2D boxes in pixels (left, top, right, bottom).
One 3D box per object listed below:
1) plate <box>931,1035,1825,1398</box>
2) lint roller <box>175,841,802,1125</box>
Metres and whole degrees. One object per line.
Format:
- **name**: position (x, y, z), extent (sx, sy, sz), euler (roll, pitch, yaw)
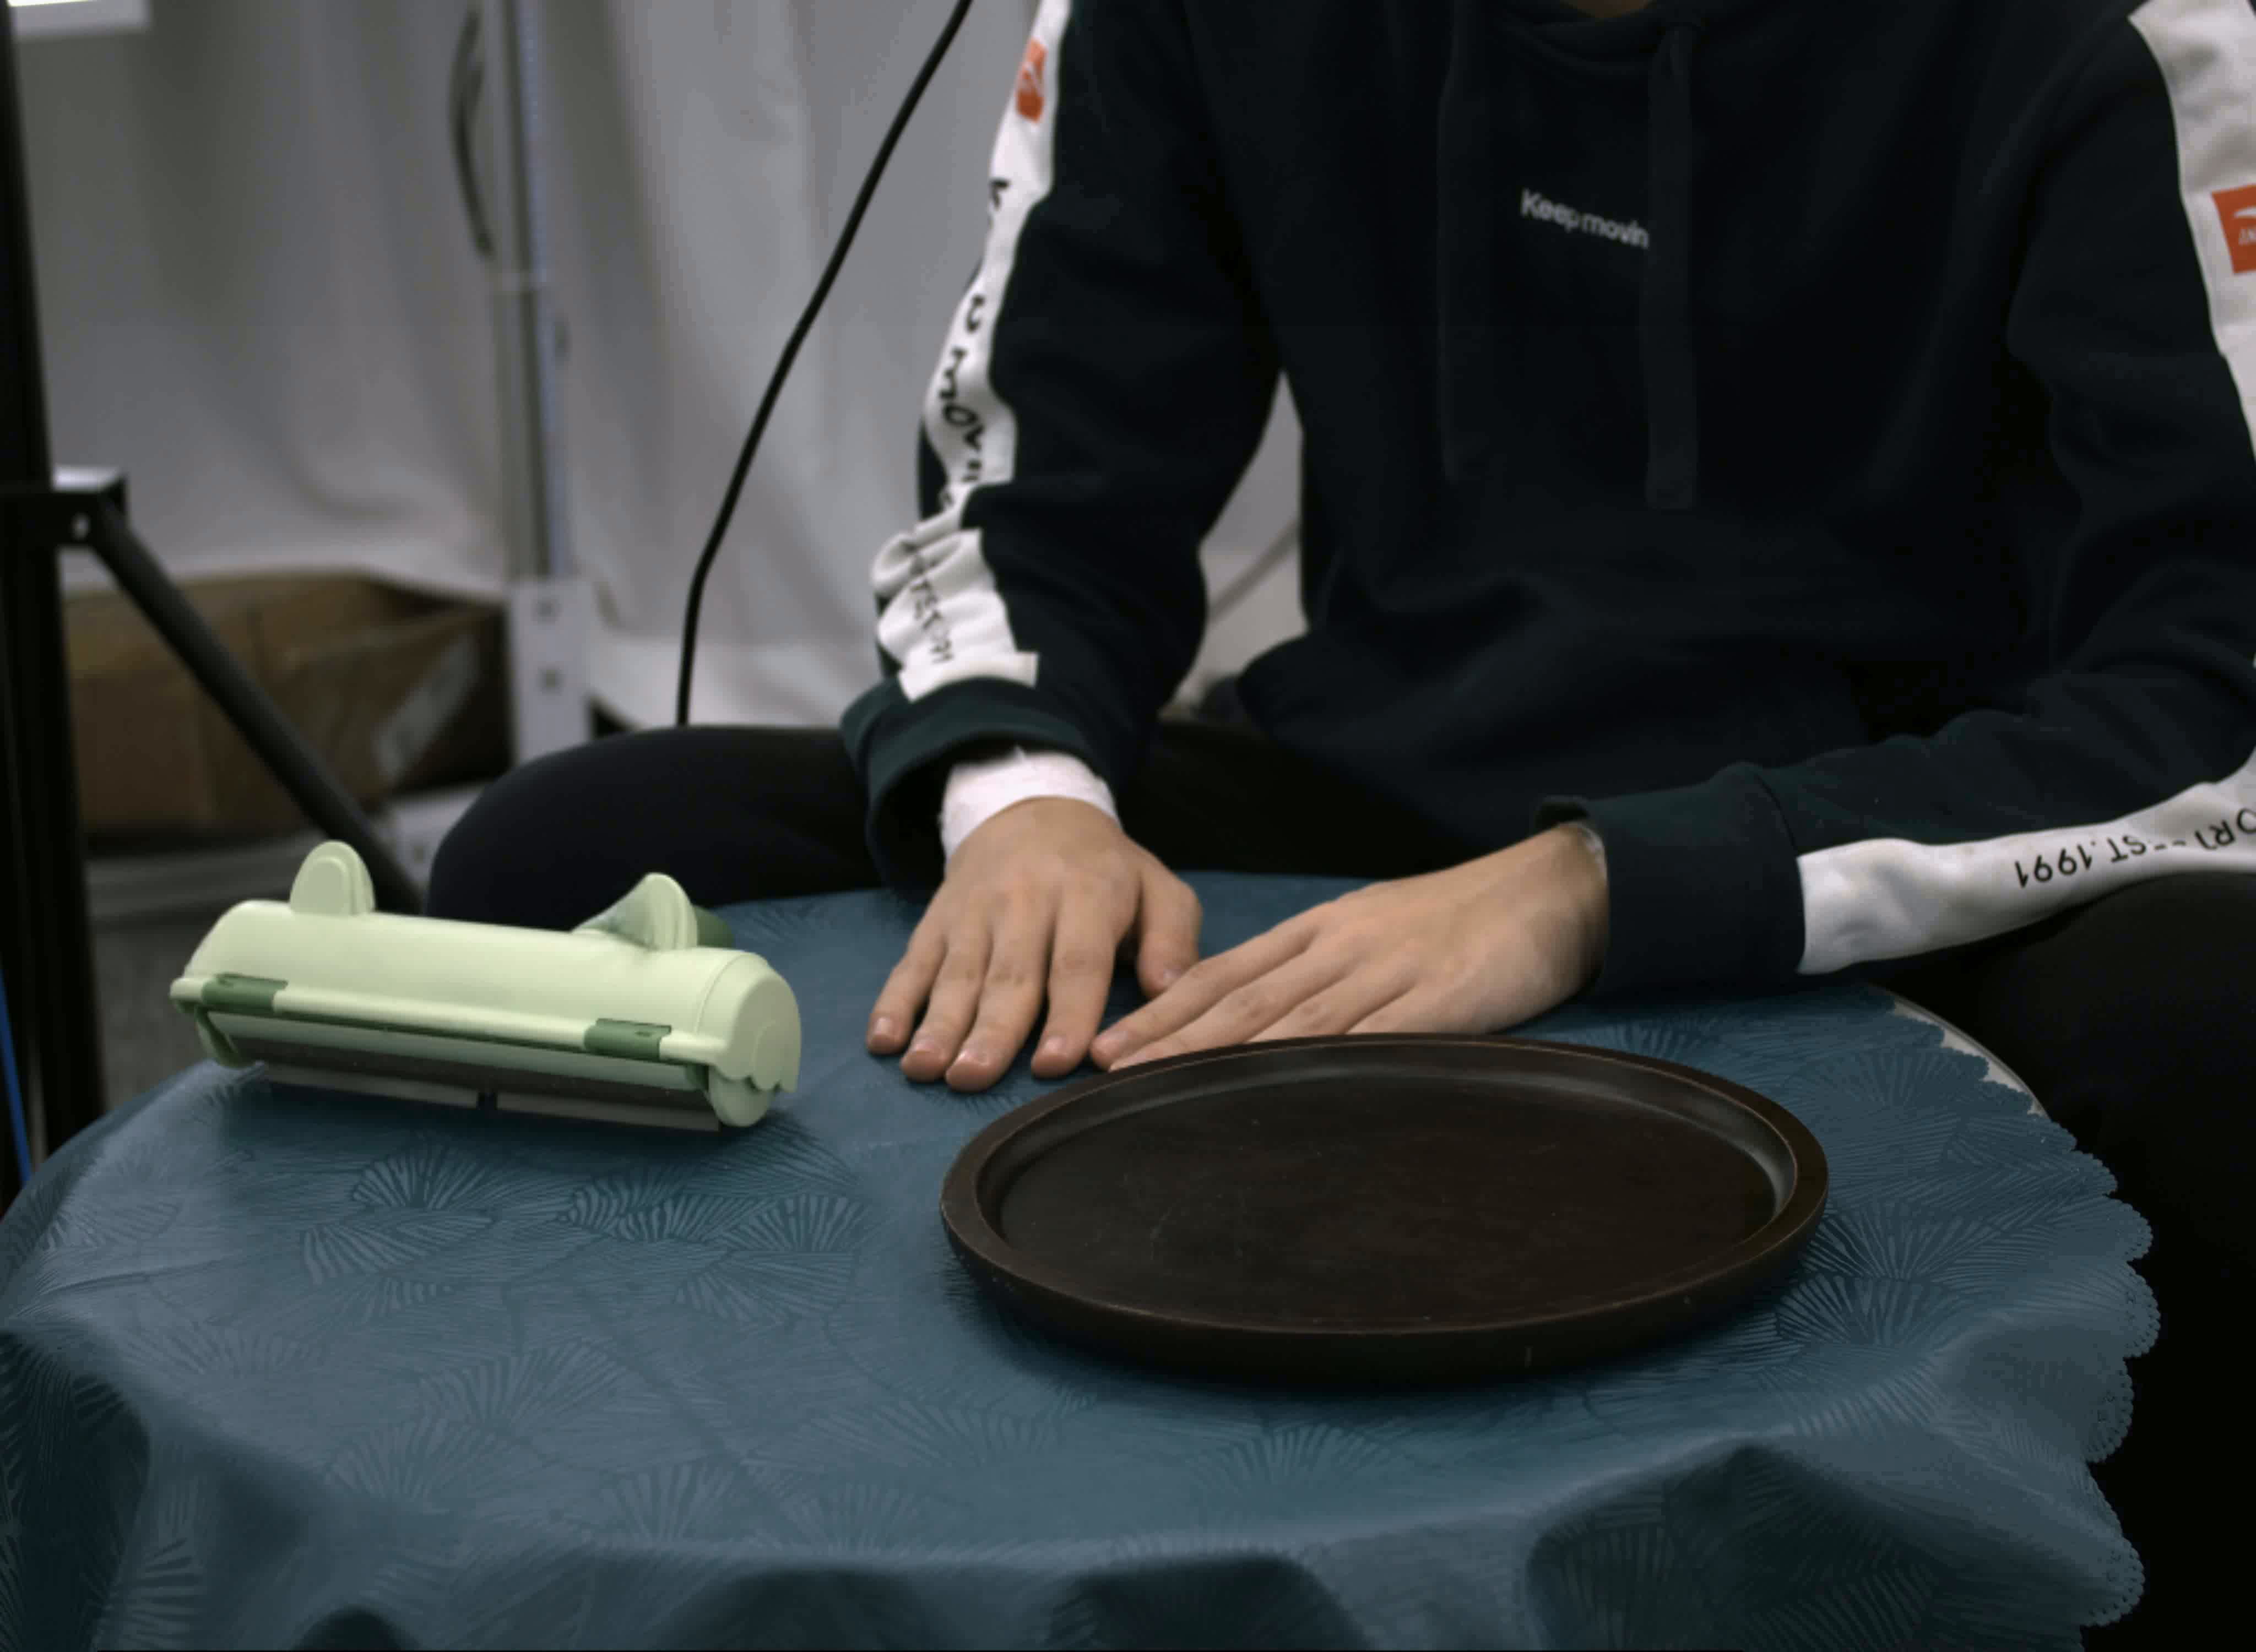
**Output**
- **plate**: position (0.071, 0.108, 1.501), extent (0.253, 0.029, 0.256), euler (-4, 16, 0)
- **lint roller**: position (-0.176, 0.034, 1.704), extent (0.201, 0.082, 0.181), euler (5, 21, 25)
